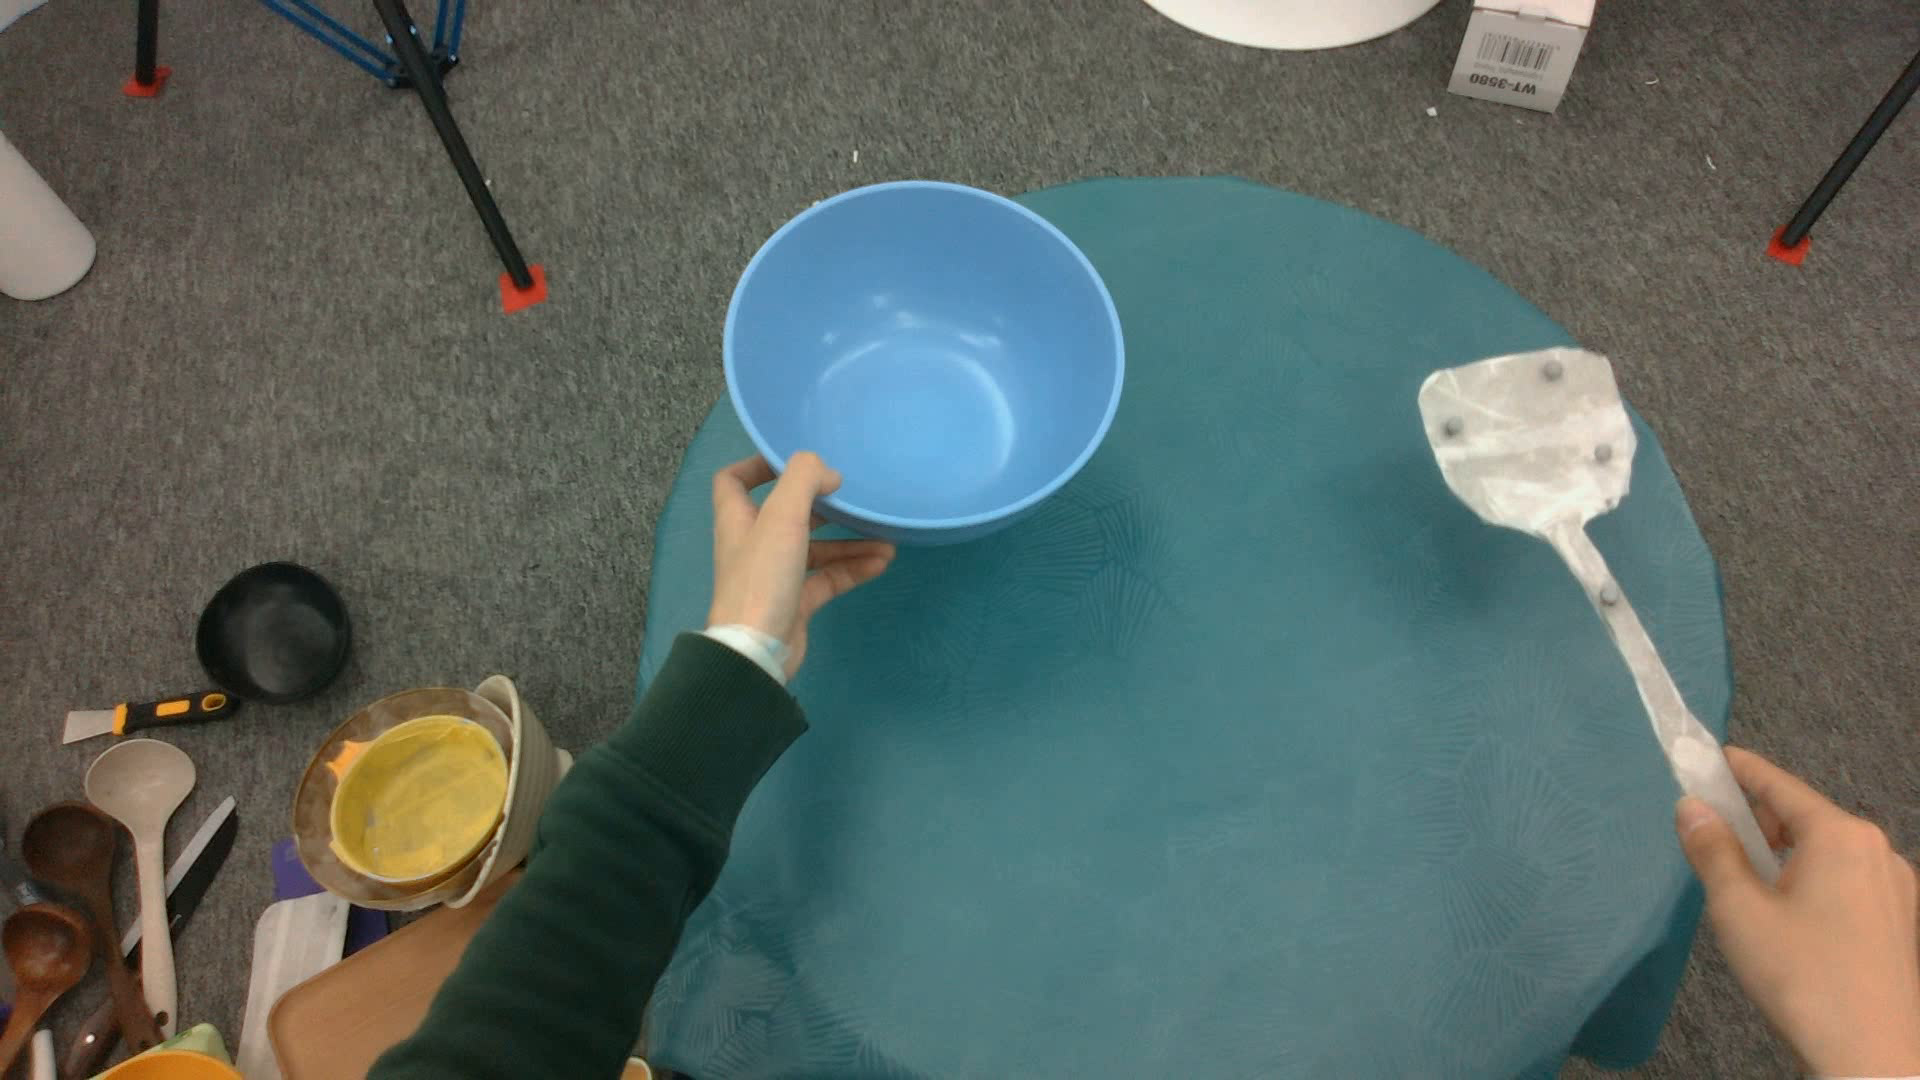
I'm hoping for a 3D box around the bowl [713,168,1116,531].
[{"bbox_3d":[-0.025,-0.084,0.709,0.196,0.095,0.197,3,65,-6],"label":"bowl"}]

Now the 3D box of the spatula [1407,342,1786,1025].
[{"bbox_3d":[0.287,0.034,0.612,0.098,0.044,0.366,-7,42,5],"label":"spatula"}]
